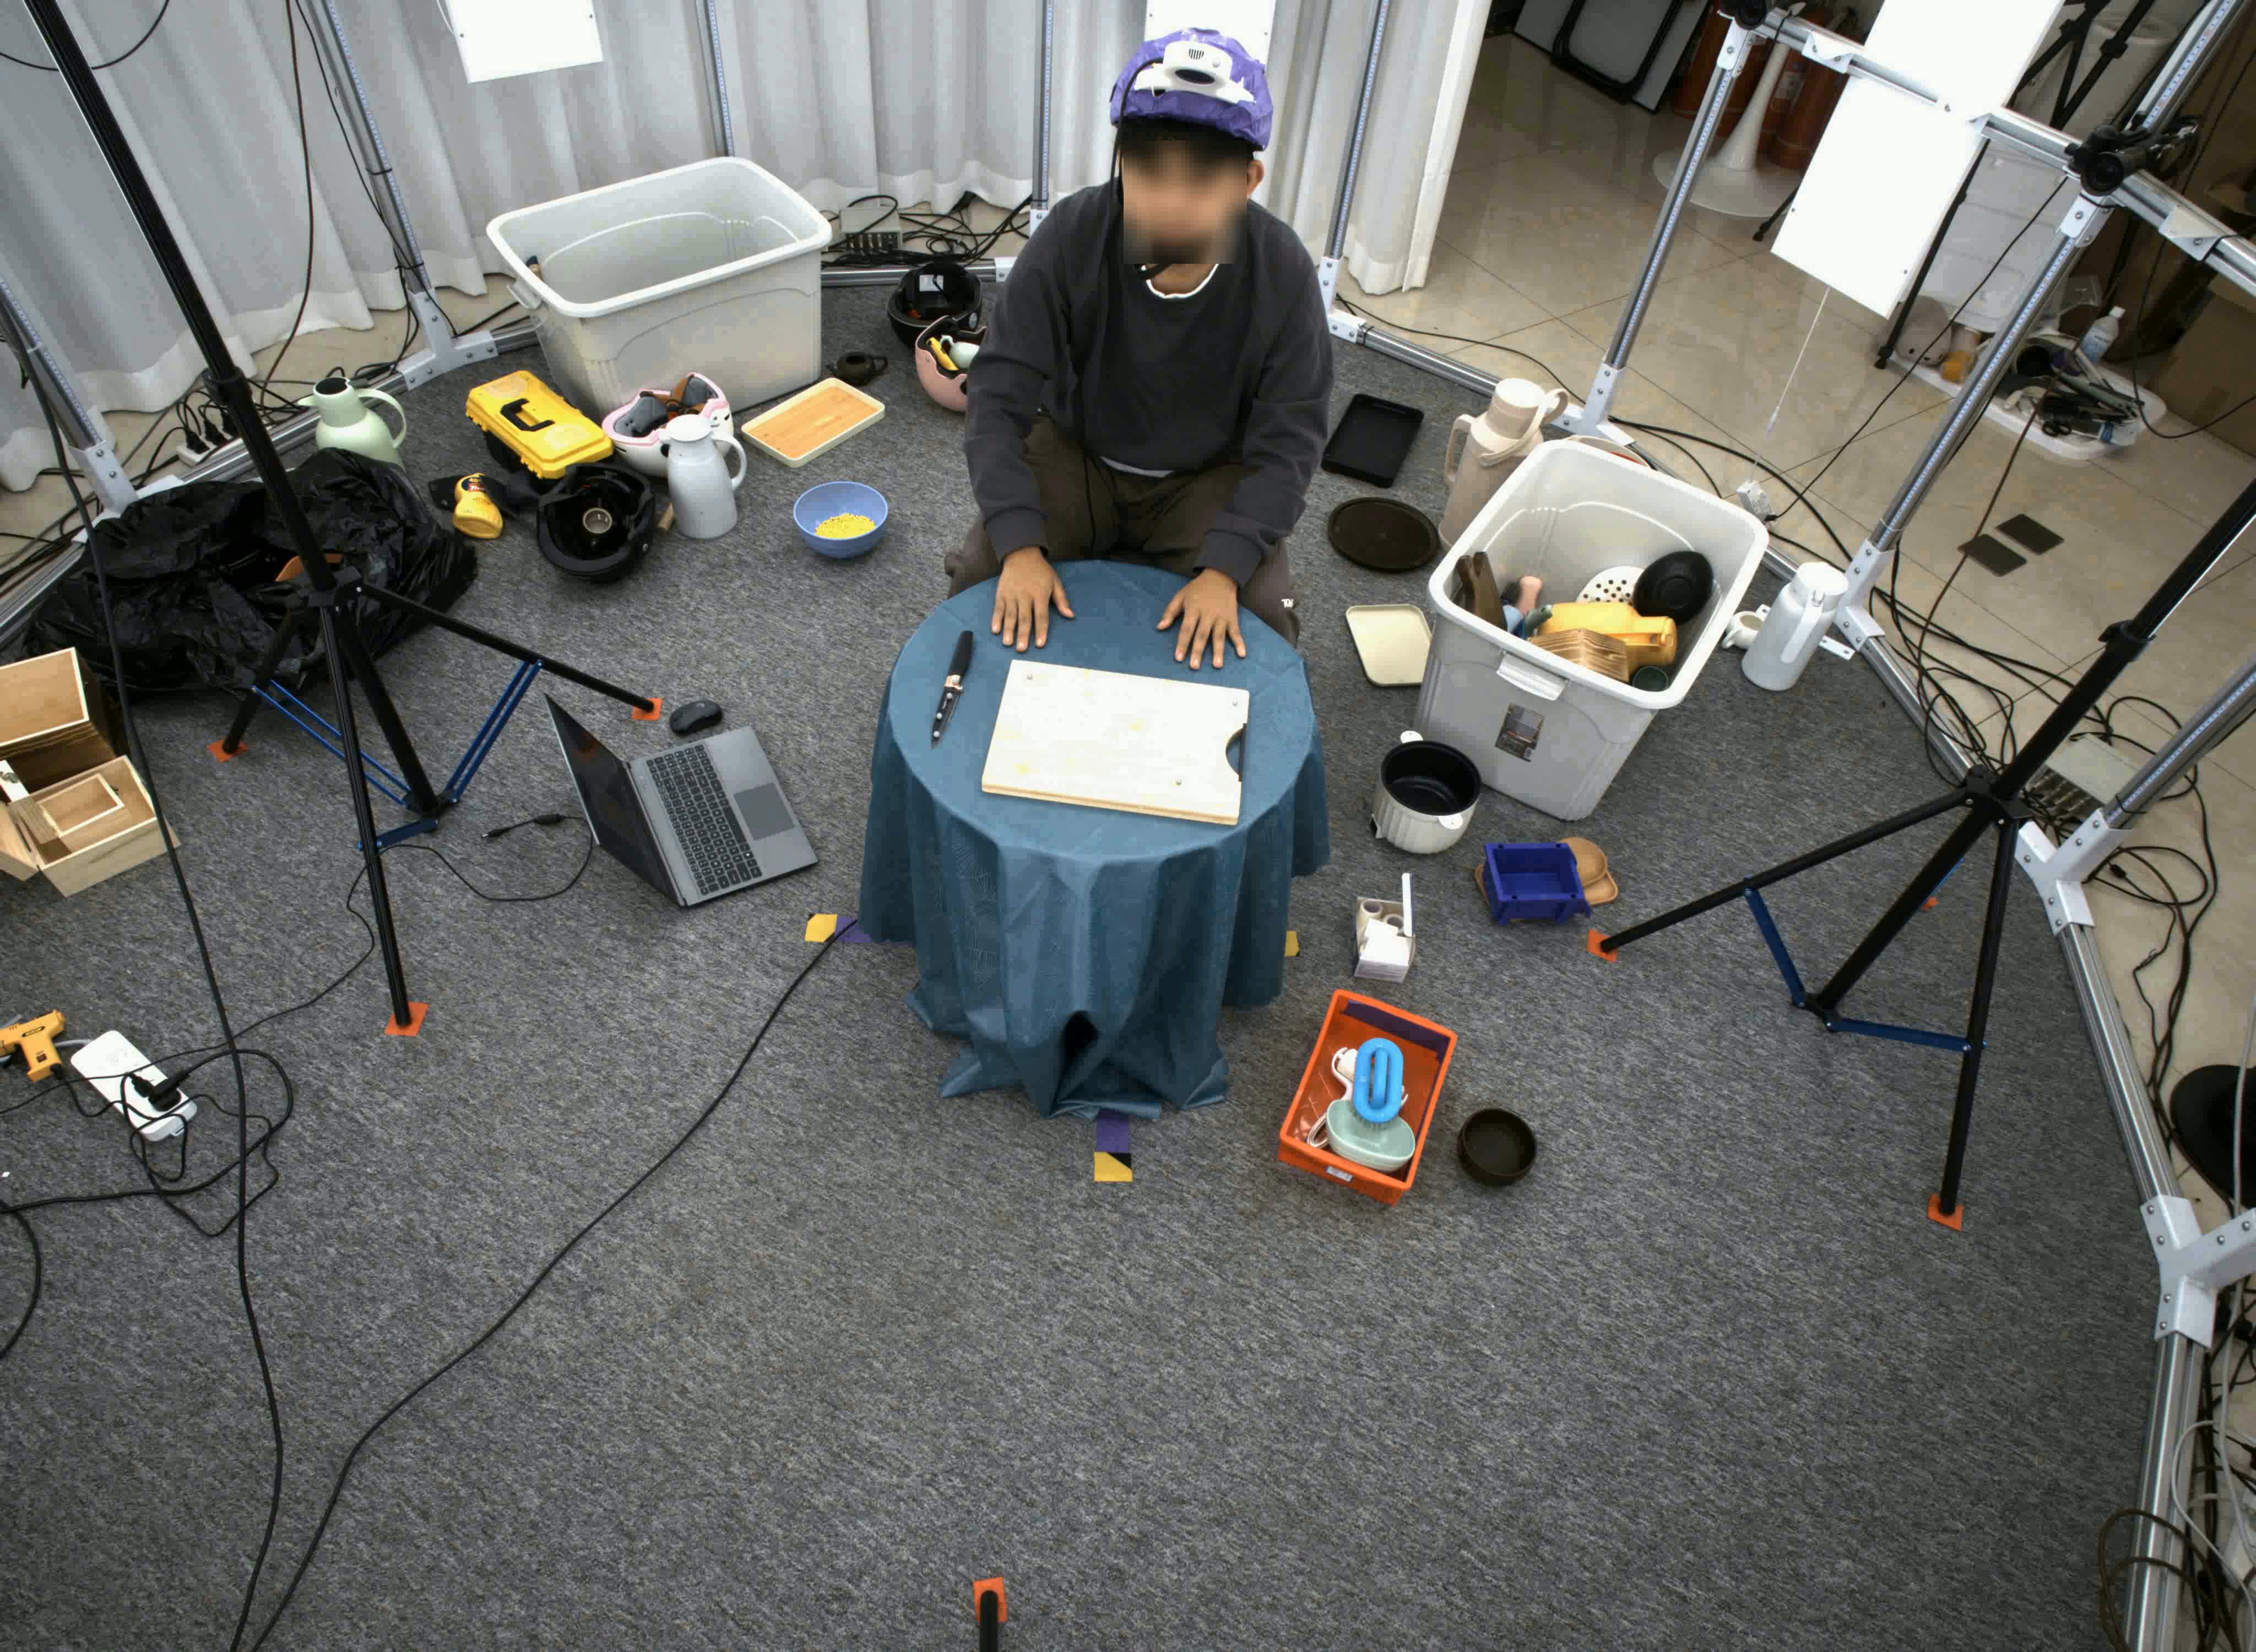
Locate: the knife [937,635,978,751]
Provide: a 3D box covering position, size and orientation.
[{"bbox_3d":[-0.242,-0.190,1.805,0.026,0.017,0.231,13,50,-3],"label":"knife"}]

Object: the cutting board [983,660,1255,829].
[{"bbox_3d":[-0.005,-0.117,1.756,0.348,0.023,0.257,7,49,2],"label":"cutting board"}]
